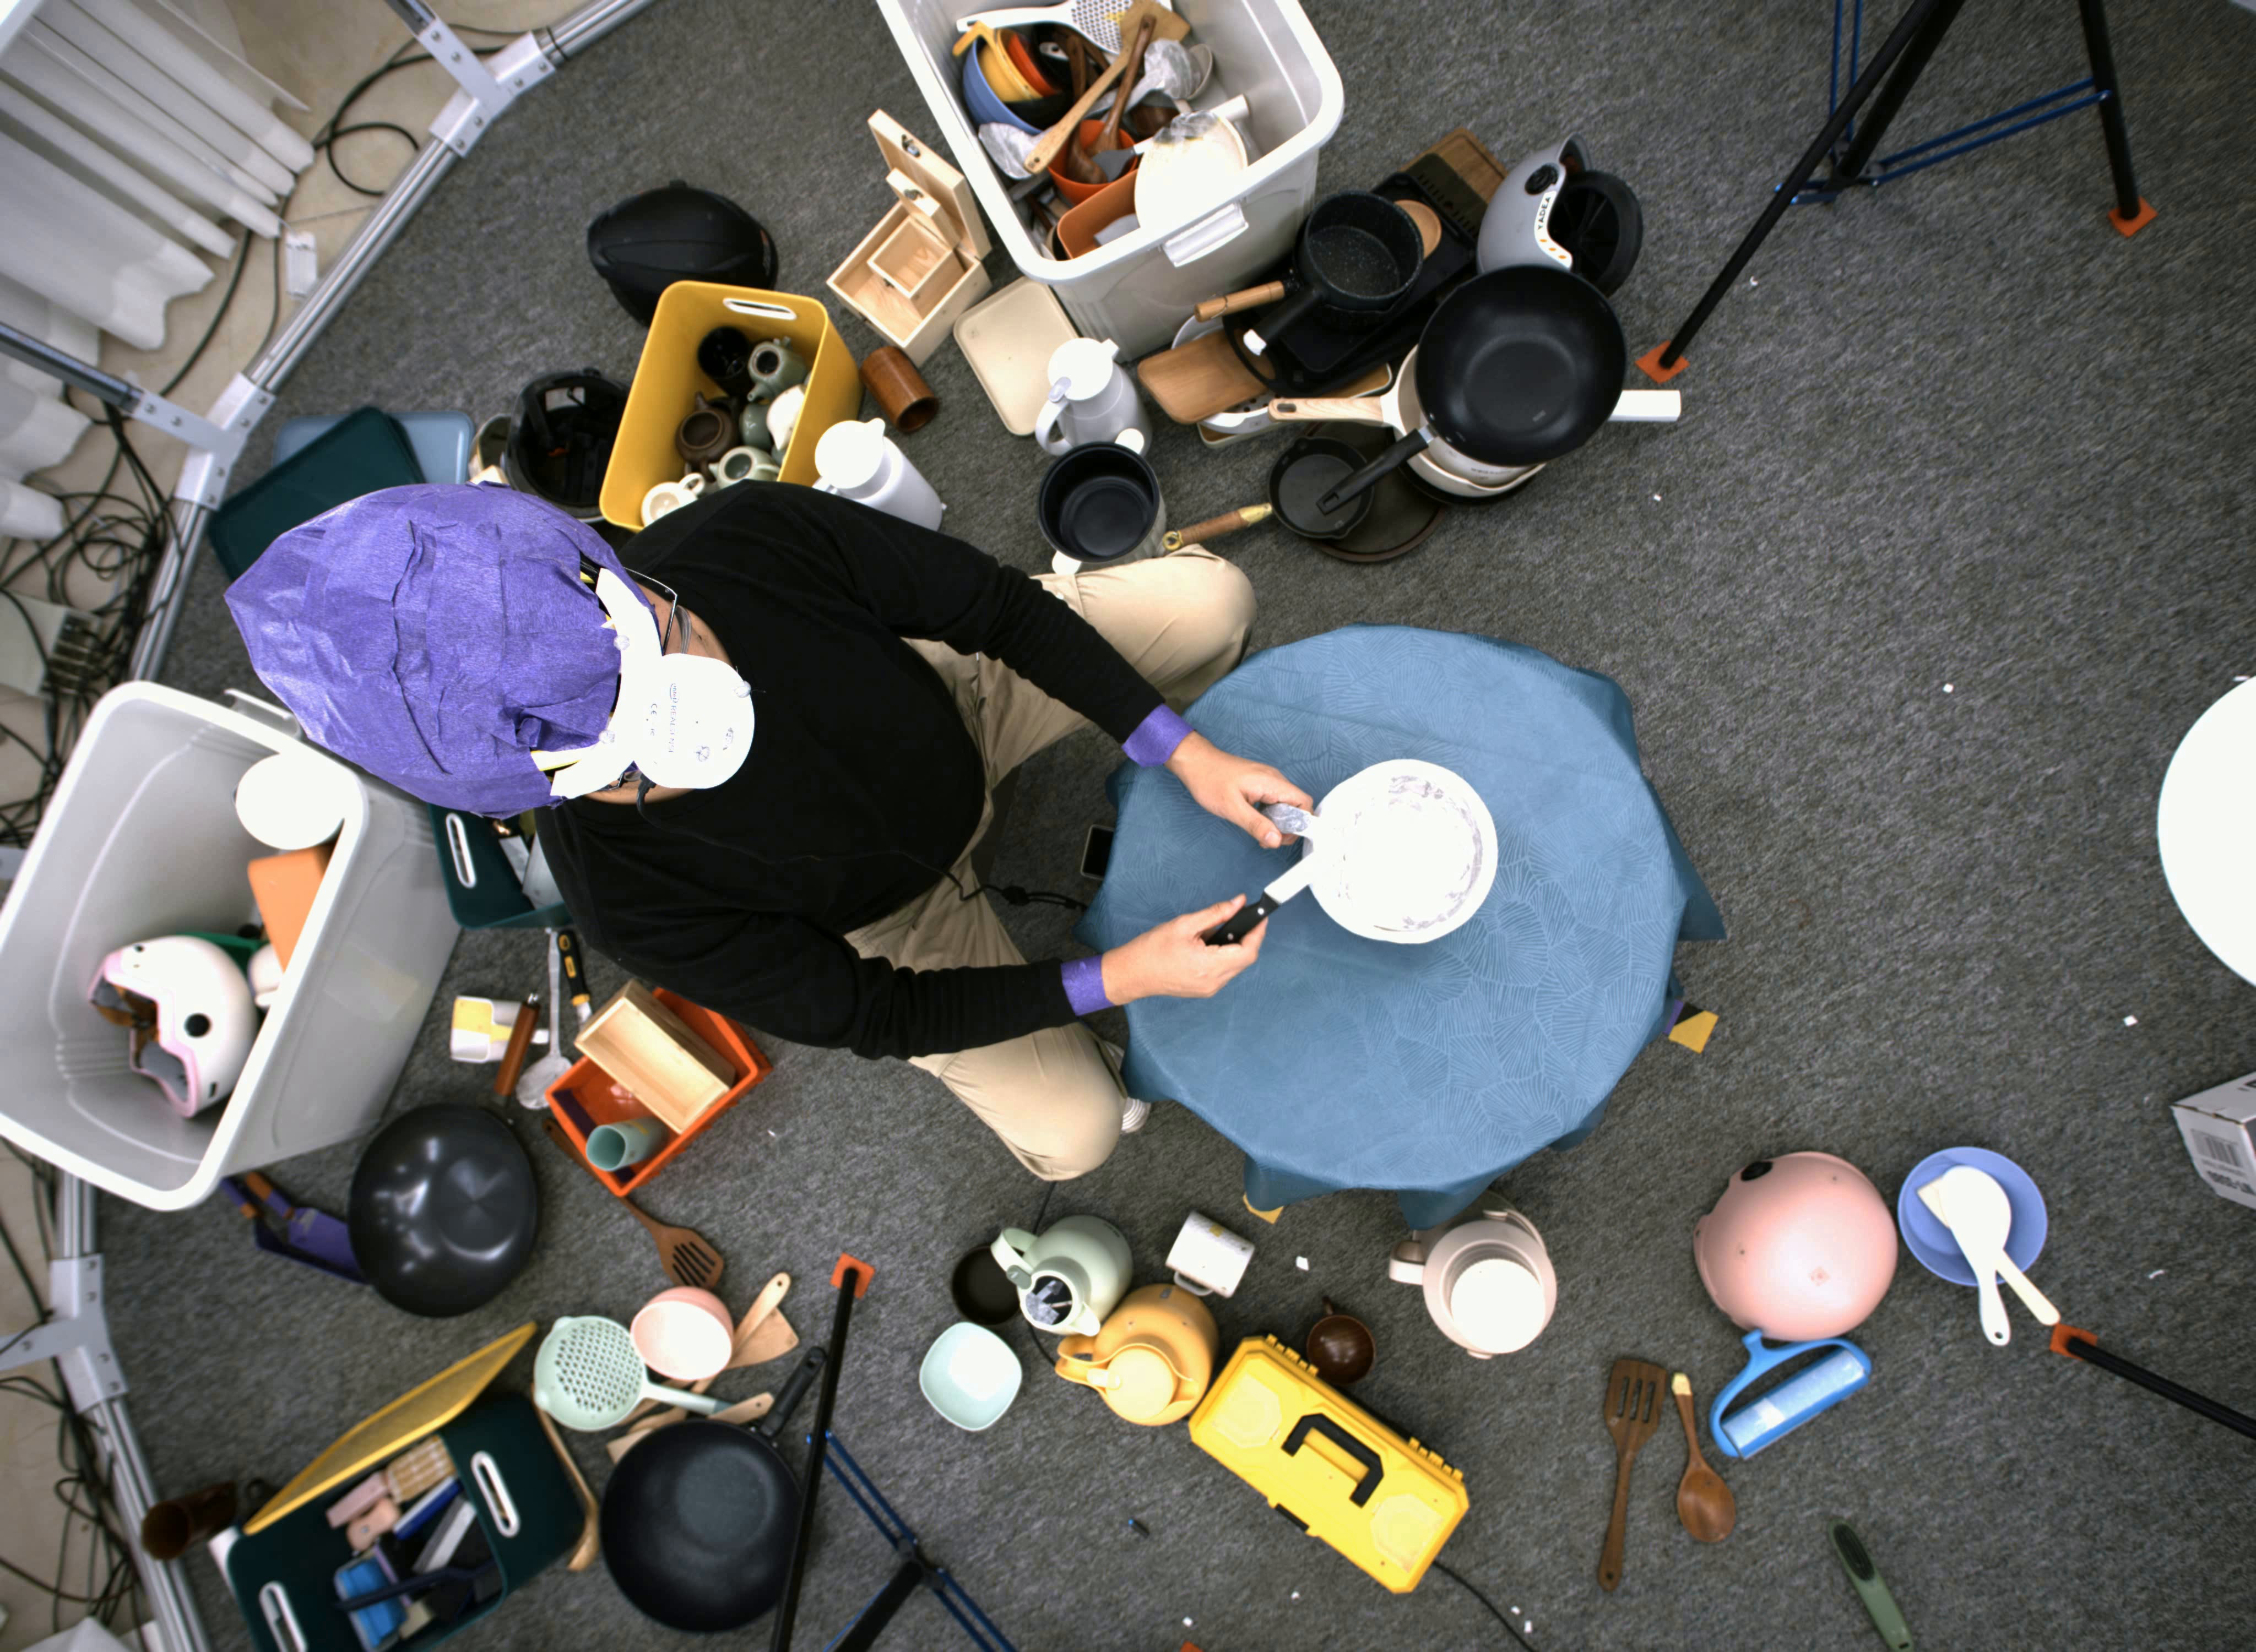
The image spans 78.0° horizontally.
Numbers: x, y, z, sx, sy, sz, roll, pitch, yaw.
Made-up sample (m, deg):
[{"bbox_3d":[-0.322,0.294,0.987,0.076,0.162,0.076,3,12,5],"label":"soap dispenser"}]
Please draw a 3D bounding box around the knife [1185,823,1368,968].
[{"bbox_3d":[0.143,0.069,1.328,0.243,0.016,0.024,-41,90,29],"label":"knife"}]

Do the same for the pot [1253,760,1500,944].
[{"bbox_3d":[0.242,0.020,1.385,0.234,0.137,0.178,15,88,1],"label":"pot"}]
